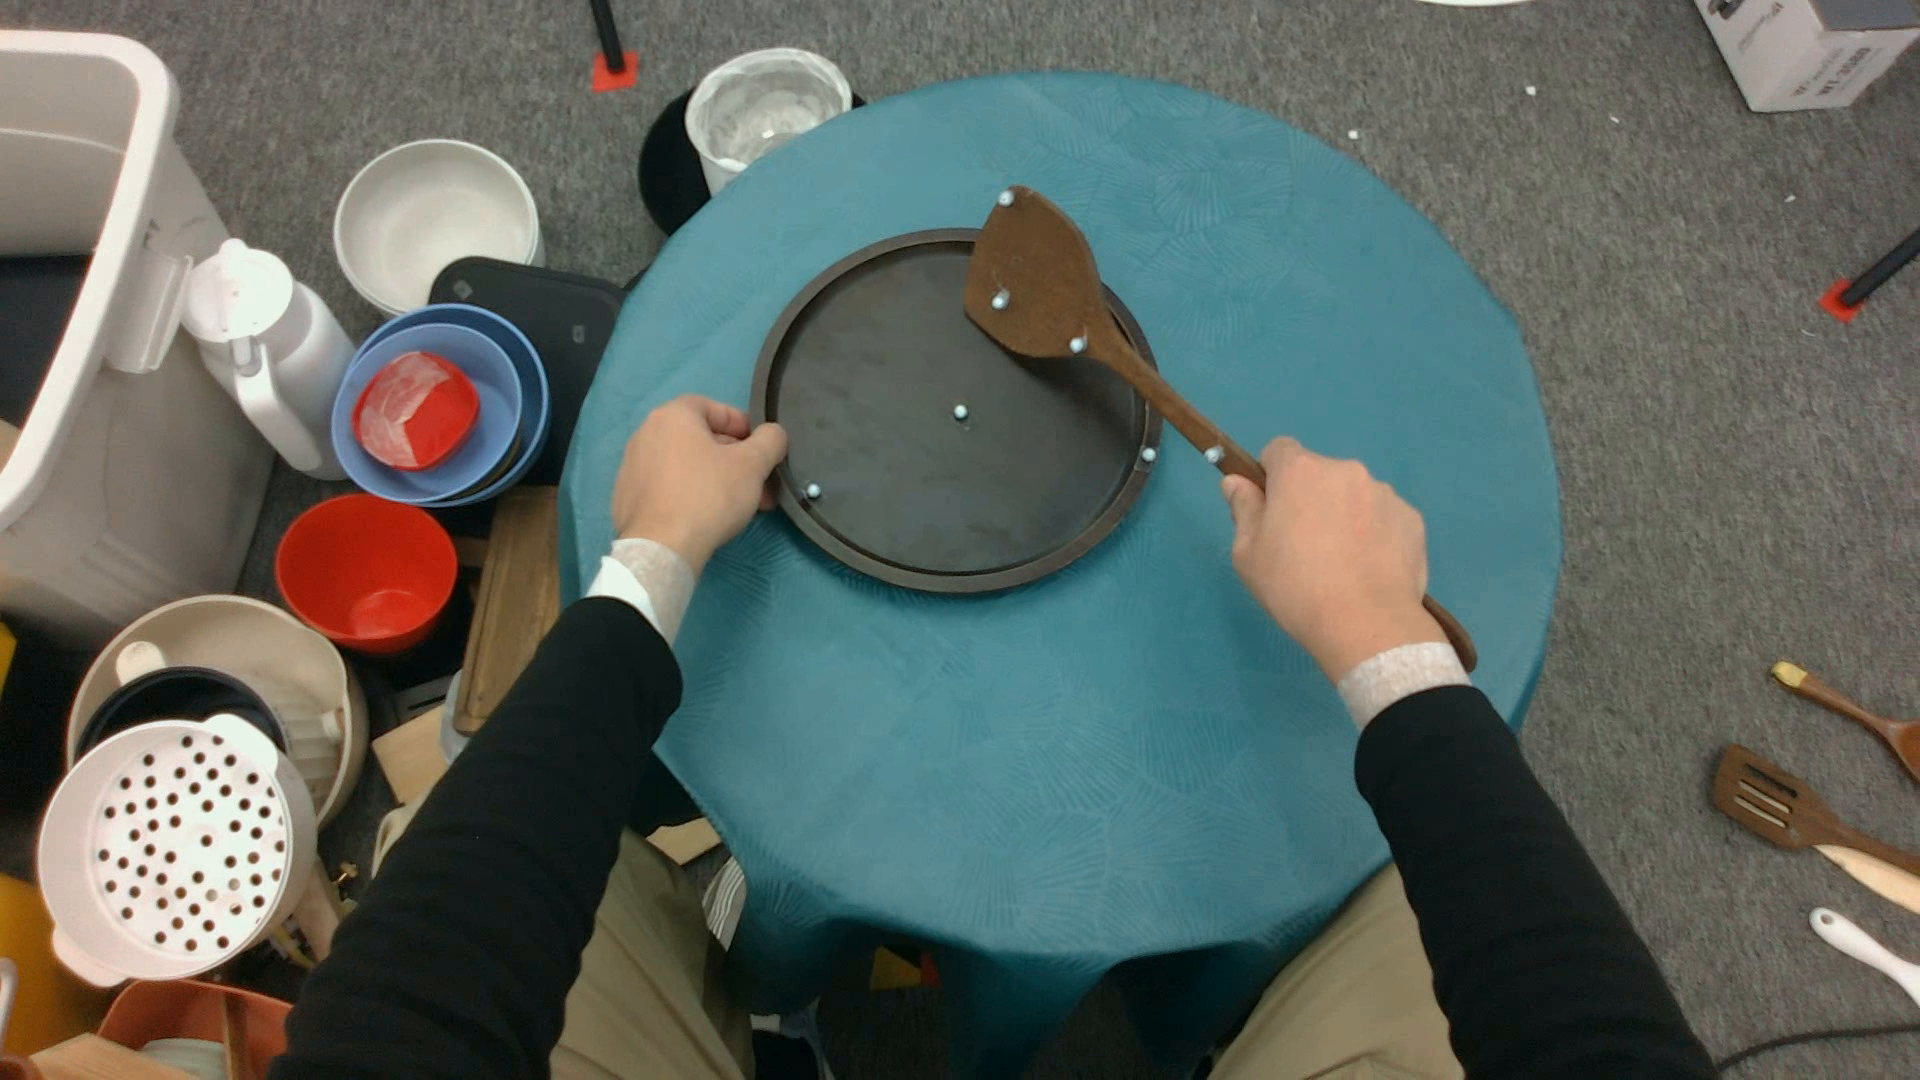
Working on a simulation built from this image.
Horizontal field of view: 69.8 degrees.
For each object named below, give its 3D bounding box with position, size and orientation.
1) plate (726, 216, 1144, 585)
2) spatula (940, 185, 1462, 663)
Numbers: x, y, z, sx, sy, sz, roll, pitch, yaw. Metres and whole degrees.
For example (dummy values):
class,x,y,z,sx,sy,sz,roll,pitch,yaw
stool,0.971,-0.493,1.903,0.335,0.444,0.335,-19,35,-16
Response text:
class,x,y,z,sx,sy,sz,roll,pitch,yaw
plate,-0.015,-0.089,0.840,0.255,0.029,0.255,1,67,-3
spatula,0.120,-0.064,0.760,0.016,0.095,0.386,-18,53,-43
